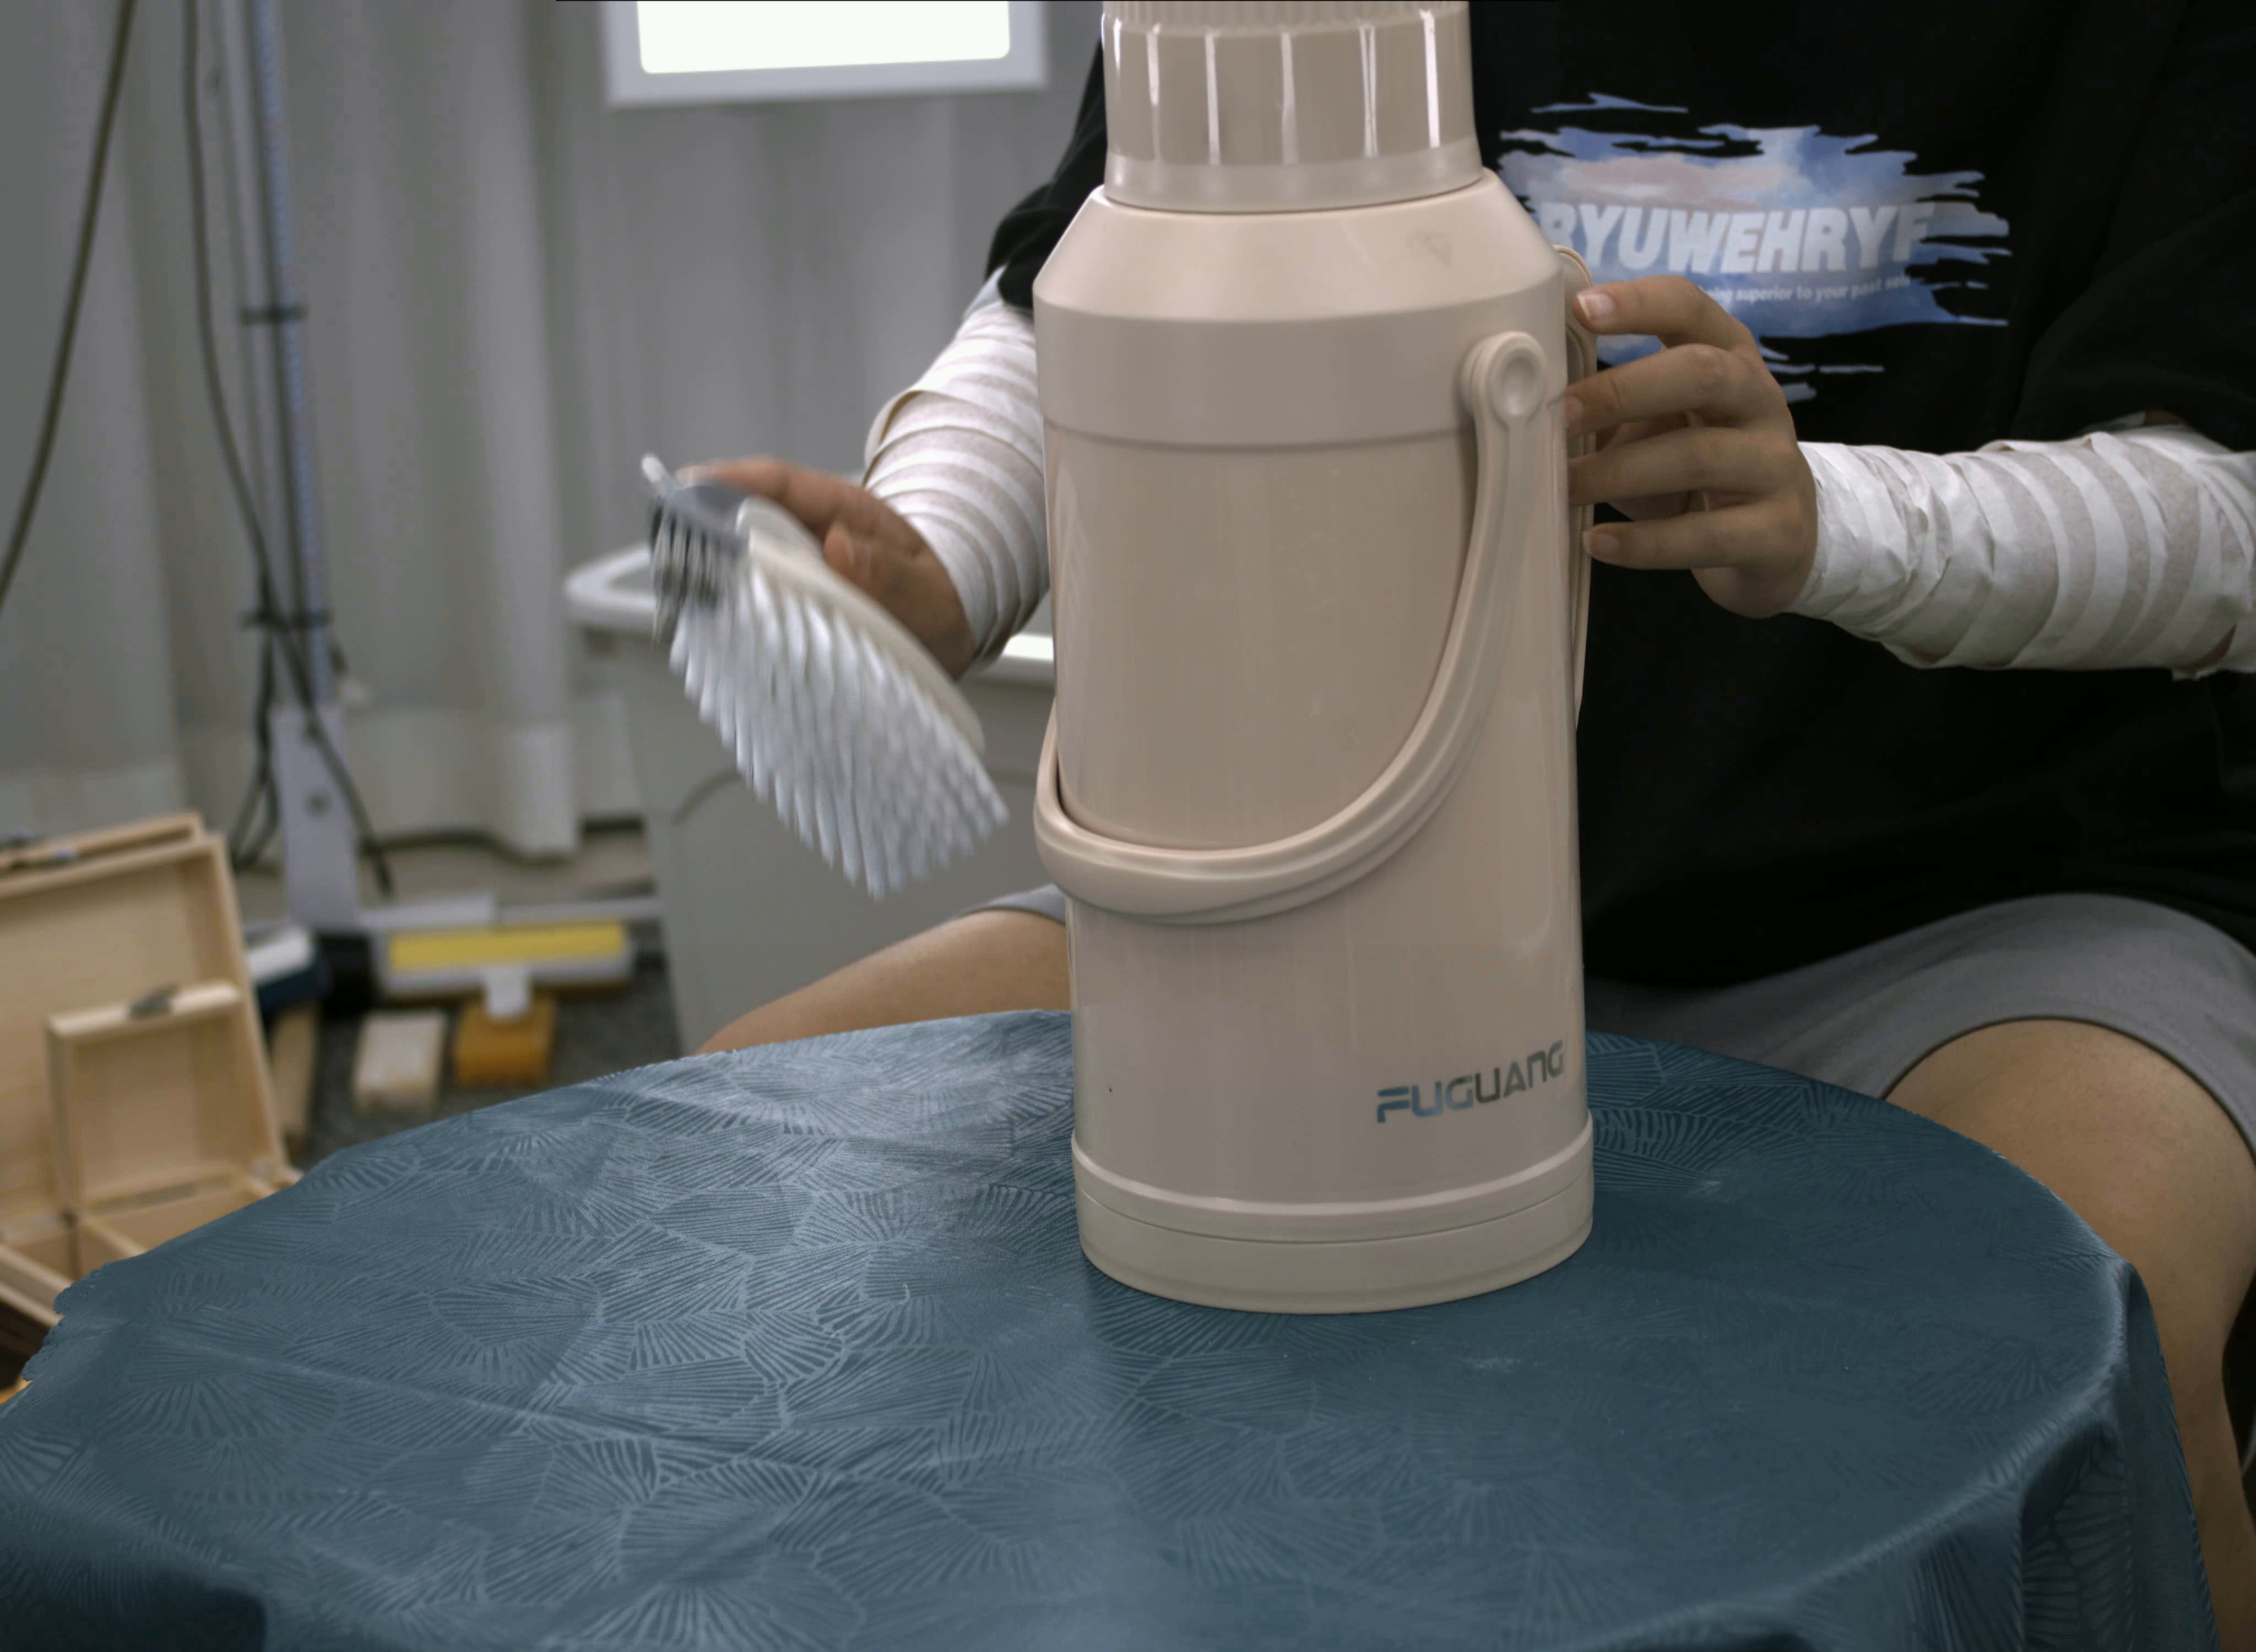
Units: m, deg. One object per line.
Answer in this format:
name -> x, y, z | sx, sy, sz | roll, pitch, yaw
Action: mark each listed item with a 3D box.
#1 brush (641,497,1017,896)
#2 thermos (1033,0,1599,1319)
brush -> -0.105, -0.057, 1.698 | 0.061, 0.173, 0.095 | -32, 52, 11
thermos -> 0.065, -0.071, 1.633 | 0.206, 0.405, 0.176 | -15, 17, -42
